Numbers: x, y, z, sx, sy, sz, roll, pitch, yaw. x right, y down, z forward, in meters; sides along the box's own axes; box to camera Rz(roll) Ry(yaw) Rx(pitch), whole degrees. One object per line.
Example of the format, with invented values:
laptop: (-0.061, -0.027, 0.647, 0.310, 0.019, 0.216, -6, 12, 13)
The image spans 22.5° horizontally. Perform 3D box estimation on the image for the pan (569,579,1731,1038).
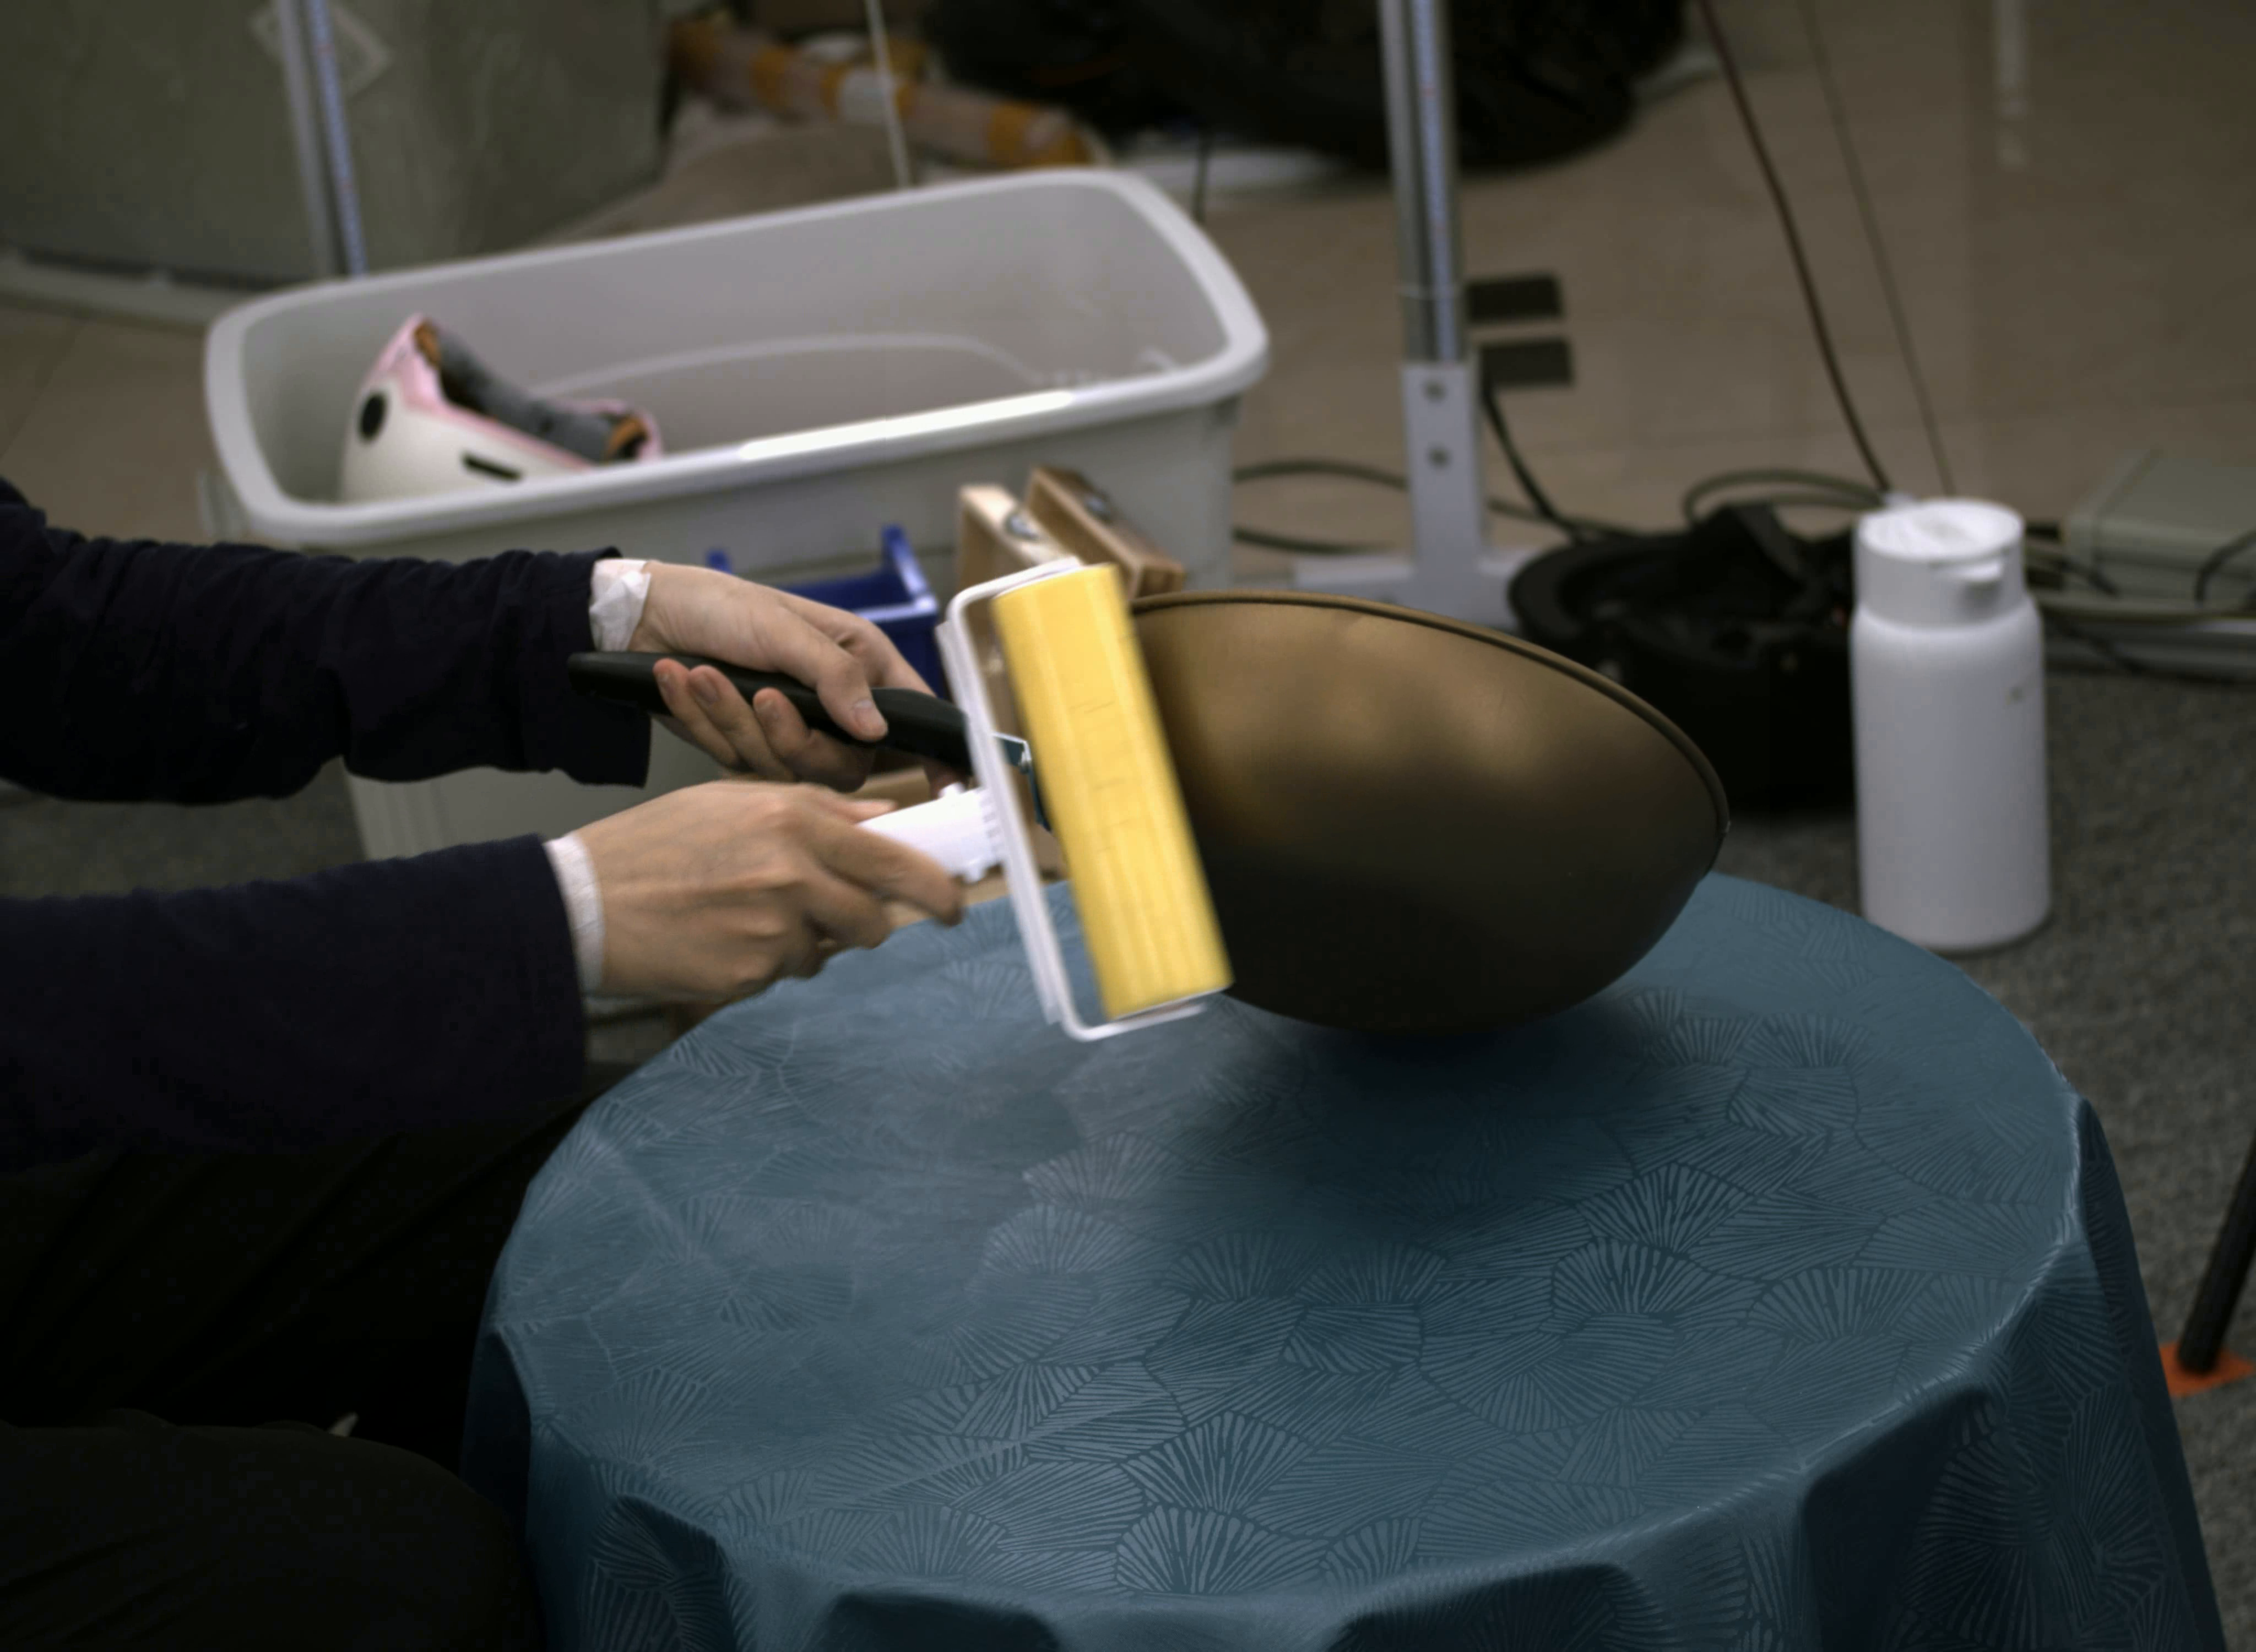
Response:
pan: (-0.004, -0.002, 2.178, 0.462, 0.292, 0.086, 8, 65, 11)

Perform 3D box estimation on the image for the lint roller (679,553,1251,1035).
lint roller: (-0.069, 0.007, 2.056, 0.191, 0.174, 0.051, -17, -1, -10)
